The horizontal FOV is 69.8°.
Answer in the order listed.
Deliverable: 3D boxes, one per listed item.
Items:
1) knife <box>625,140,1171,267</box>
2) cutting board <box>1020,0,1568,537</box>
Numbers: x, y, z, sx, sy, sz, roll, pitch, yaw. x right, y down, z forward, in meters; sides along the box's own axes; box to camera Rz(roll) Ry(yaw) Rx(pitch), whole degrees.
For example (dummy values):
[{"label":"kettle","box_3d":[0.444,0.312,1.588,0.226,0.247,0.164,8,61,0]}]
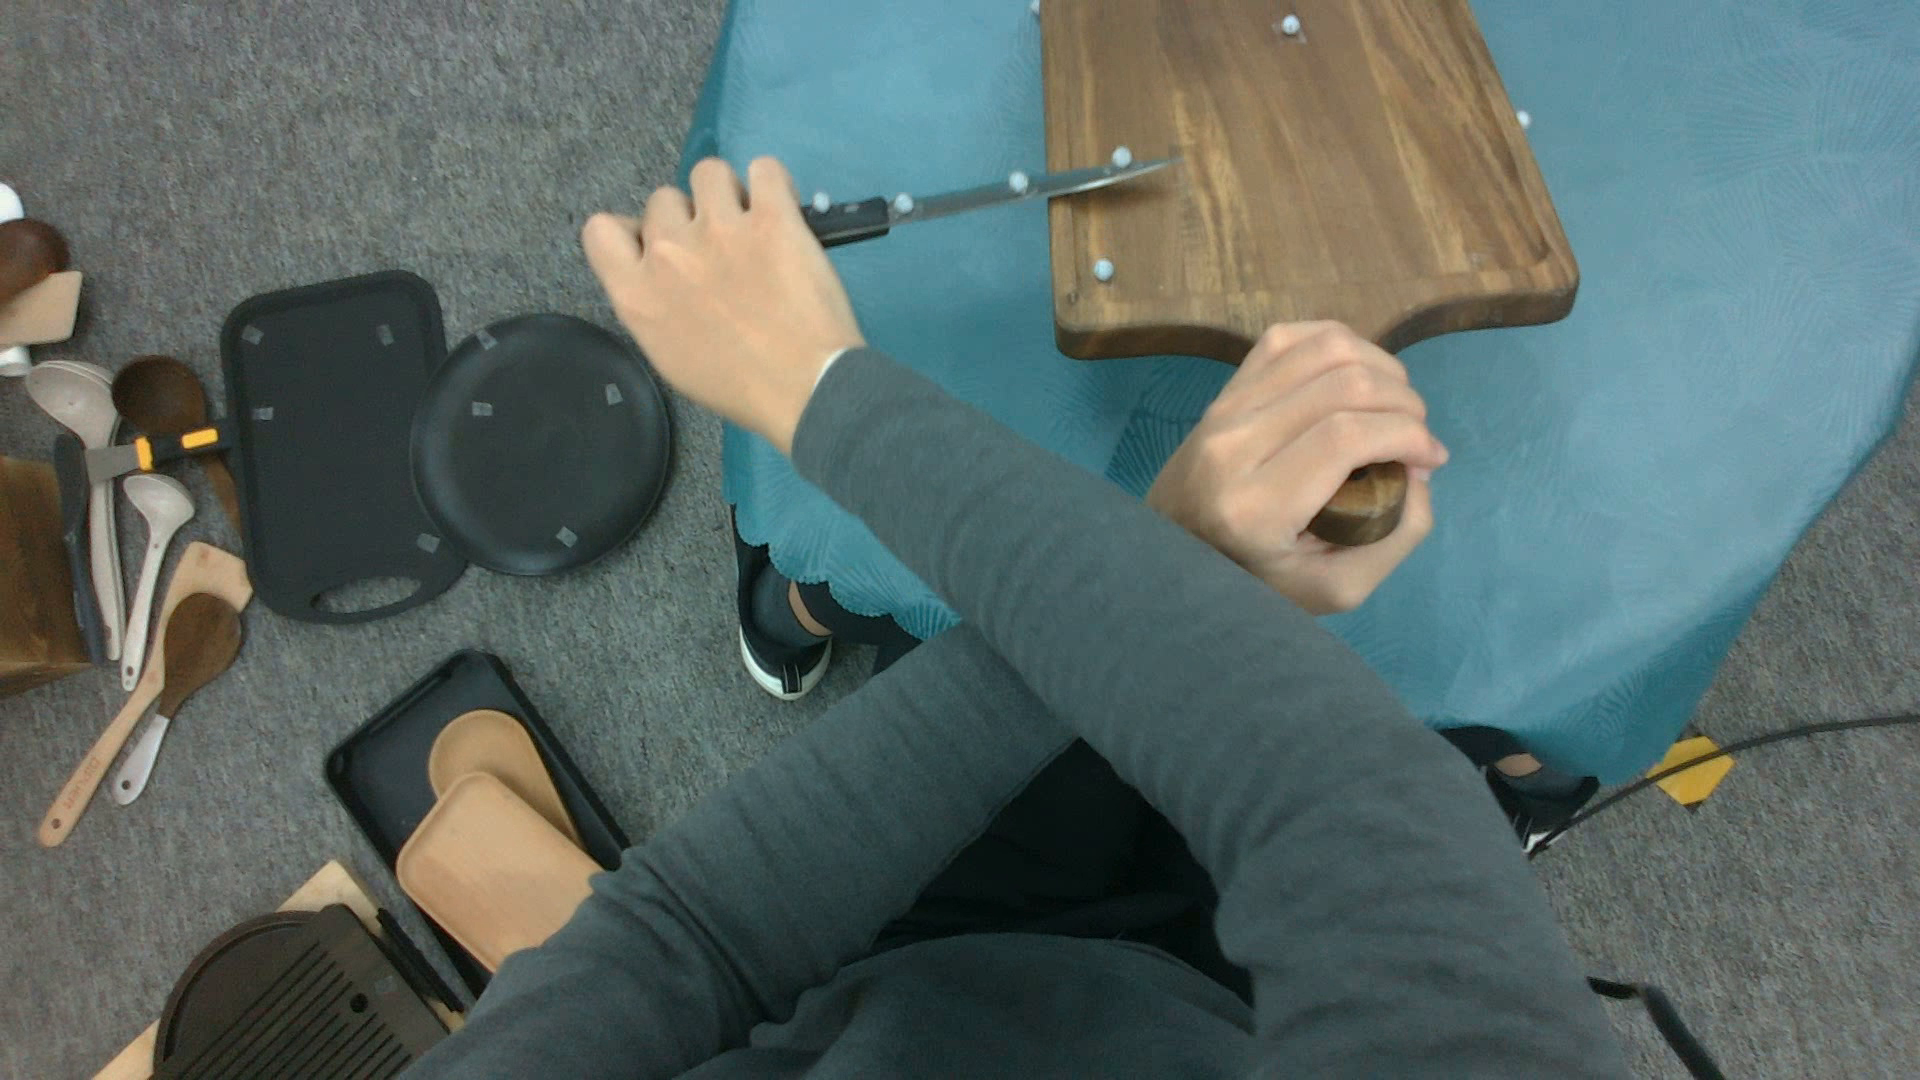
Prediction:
[{"label":"knife","box_3d":[-0.027,-0.145,0.586,0.238,0.016,0.024,-10,45,3]},{"label":"cutting board","box_3d":[0.130,-0.142,0.573,0.201,0.023,0.354,-4,50,5]}]
